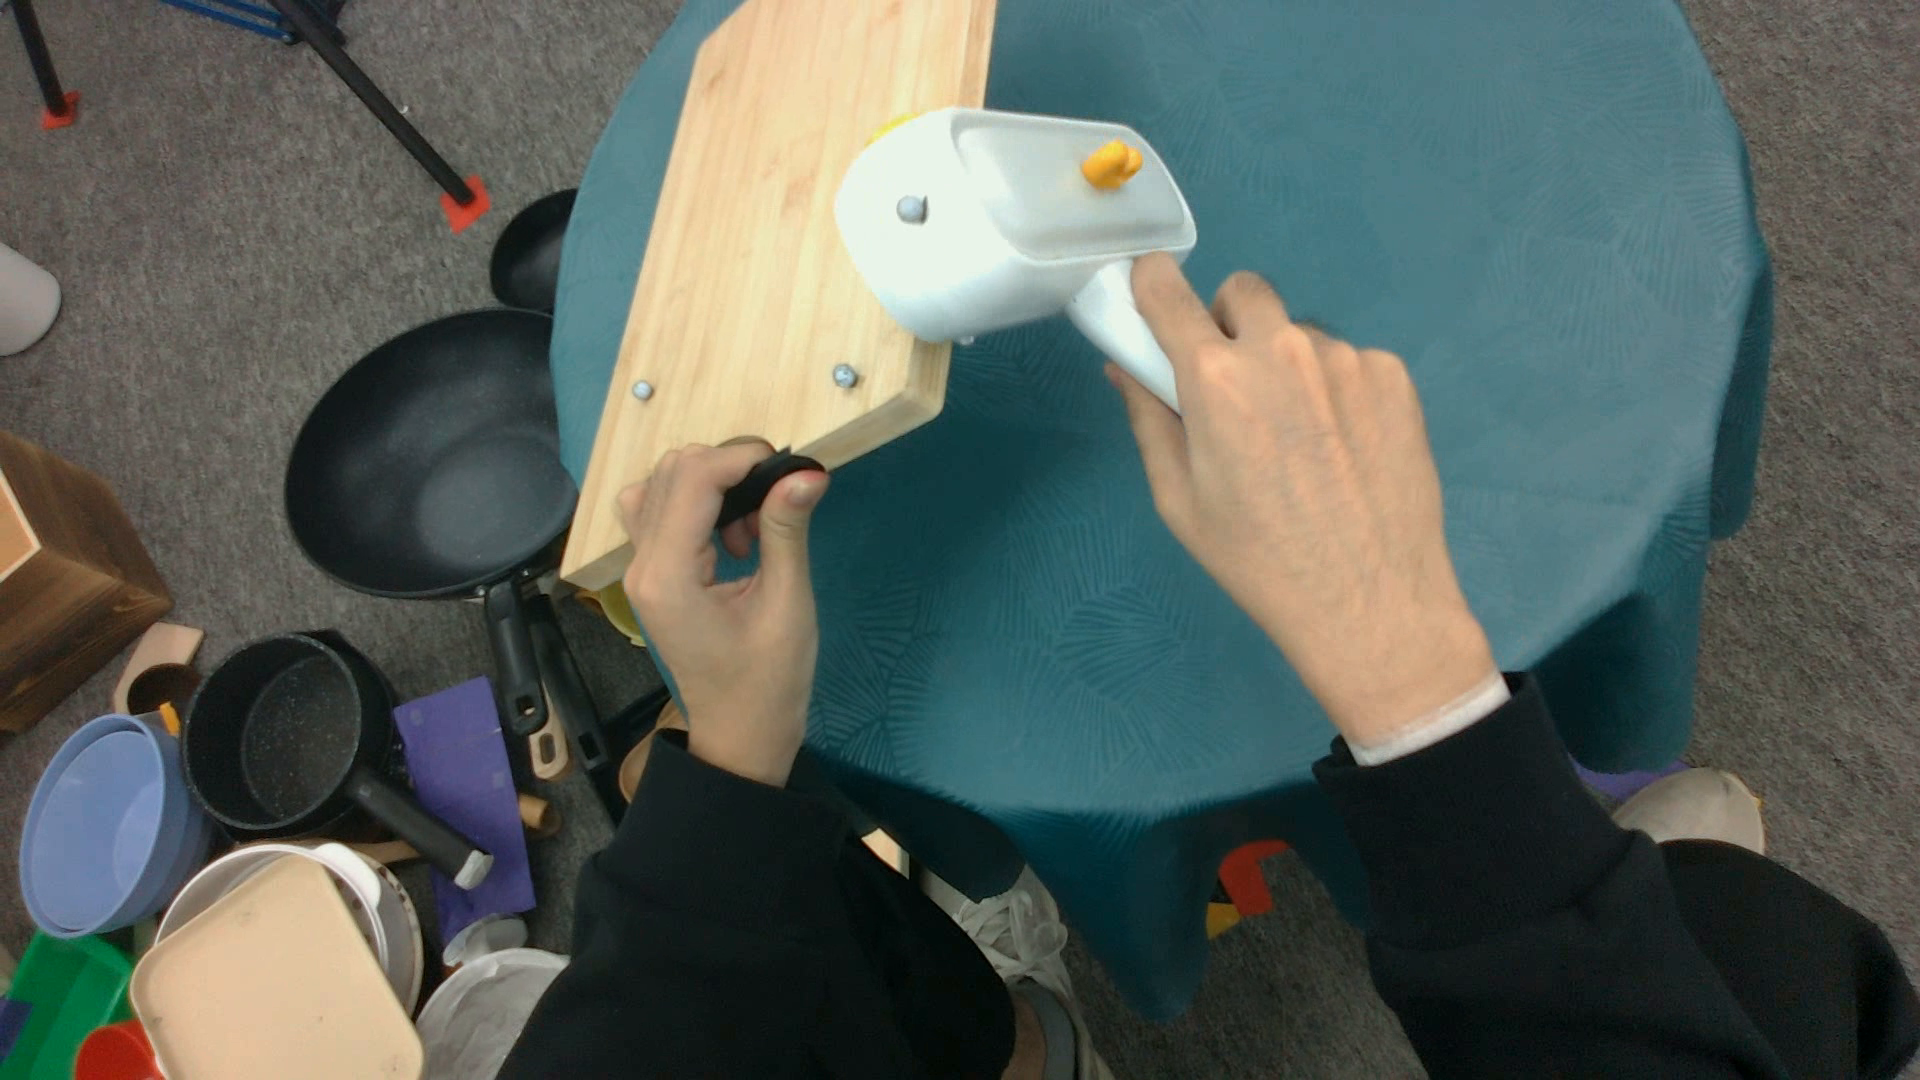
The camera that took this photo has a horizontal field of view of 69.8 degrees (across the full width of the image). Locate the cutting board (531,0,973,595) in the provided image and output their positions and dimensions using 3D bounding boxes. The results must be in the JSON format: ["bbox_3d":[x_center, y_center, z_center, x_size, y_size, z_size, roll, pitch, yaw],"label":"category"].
[{"bbox_3d":[-0.086,-0.162,0.623,0.249,0.023,0.350,-23,50,41],"label":"cutting board"}]

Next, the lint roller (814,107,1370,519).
[{"bbox_3d":[0.060,-0.073,0.484,0.074,0.193,0.192,-41,86,27],"label":"lint roller"}]
